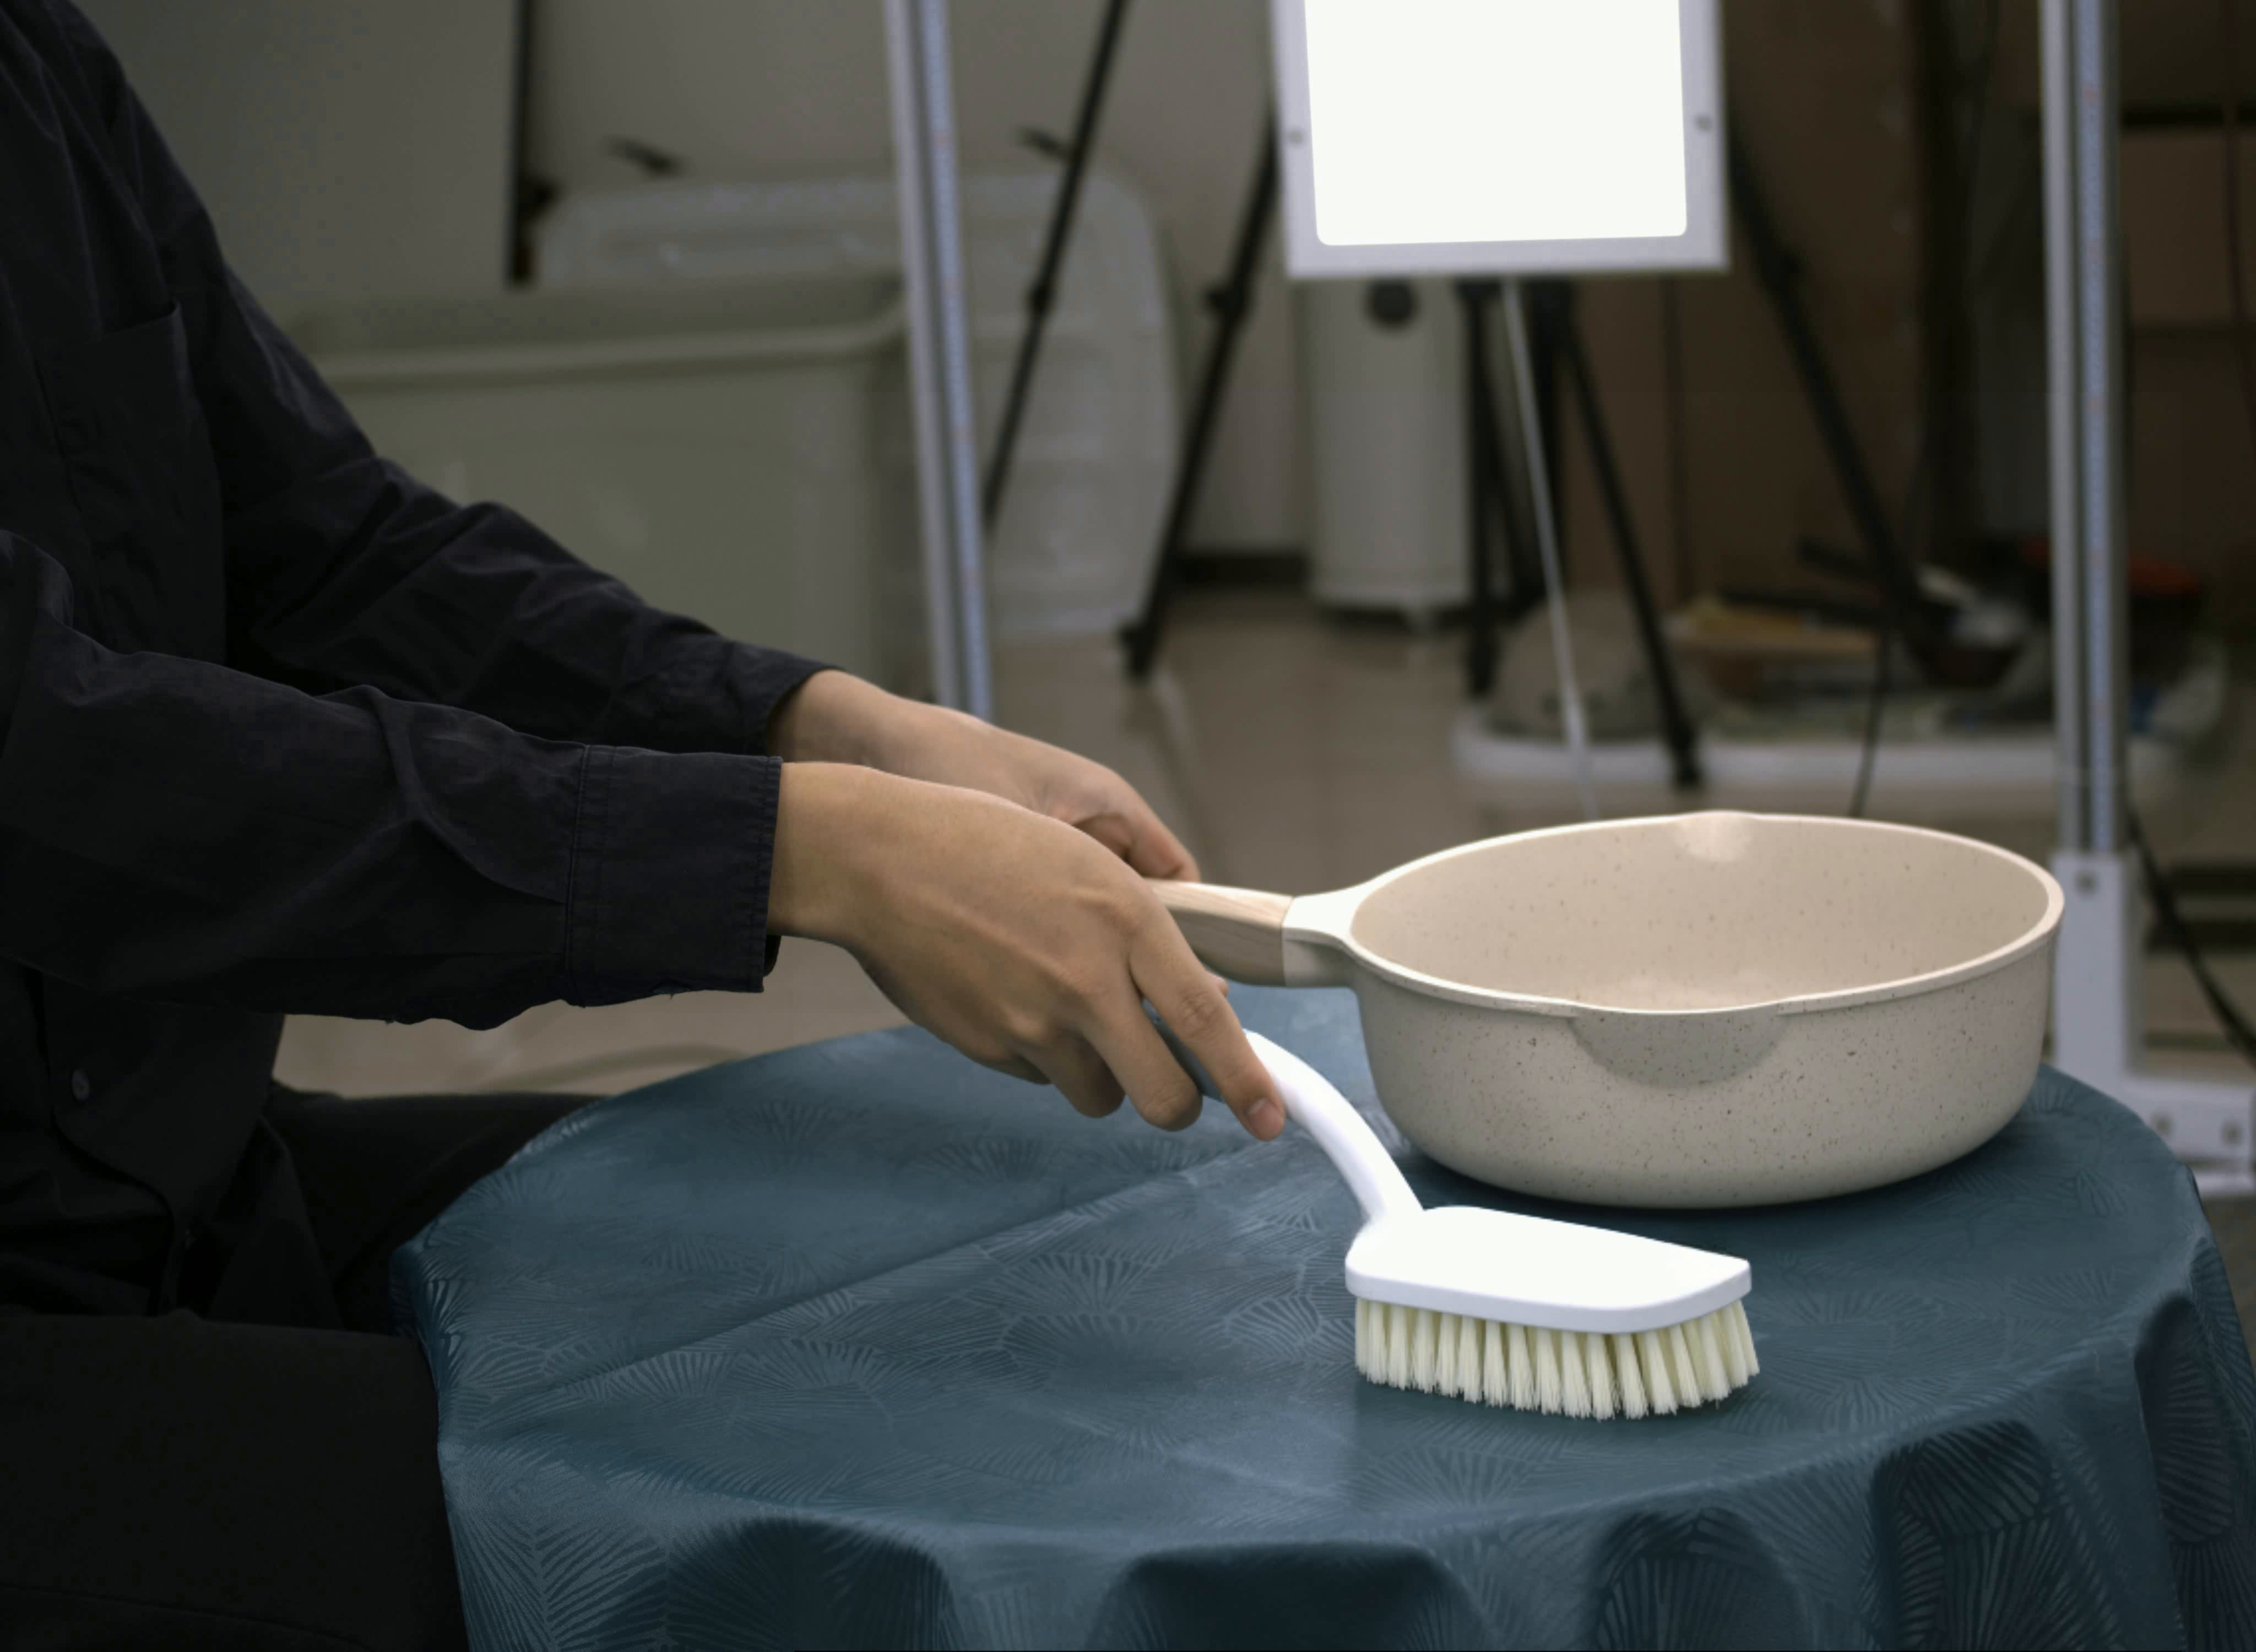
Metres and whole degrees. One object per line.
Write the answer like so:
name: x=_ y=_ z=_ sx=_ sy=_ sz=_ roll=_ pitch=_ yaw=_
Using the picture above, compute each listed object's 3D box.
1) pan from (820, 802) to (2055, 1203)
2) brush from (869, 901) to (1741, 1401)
pan: x=0.109 y=0.058 z=1.926 sx=0.438 sy=0.102 sz=0.260 roll=-2 pitch=15 yaw=11
brush: x=0.049 y=0.115 z=1.735 sx=0.331 sy=0.084 sz=0.082 roll=21 pitch=-12 yaw=31
